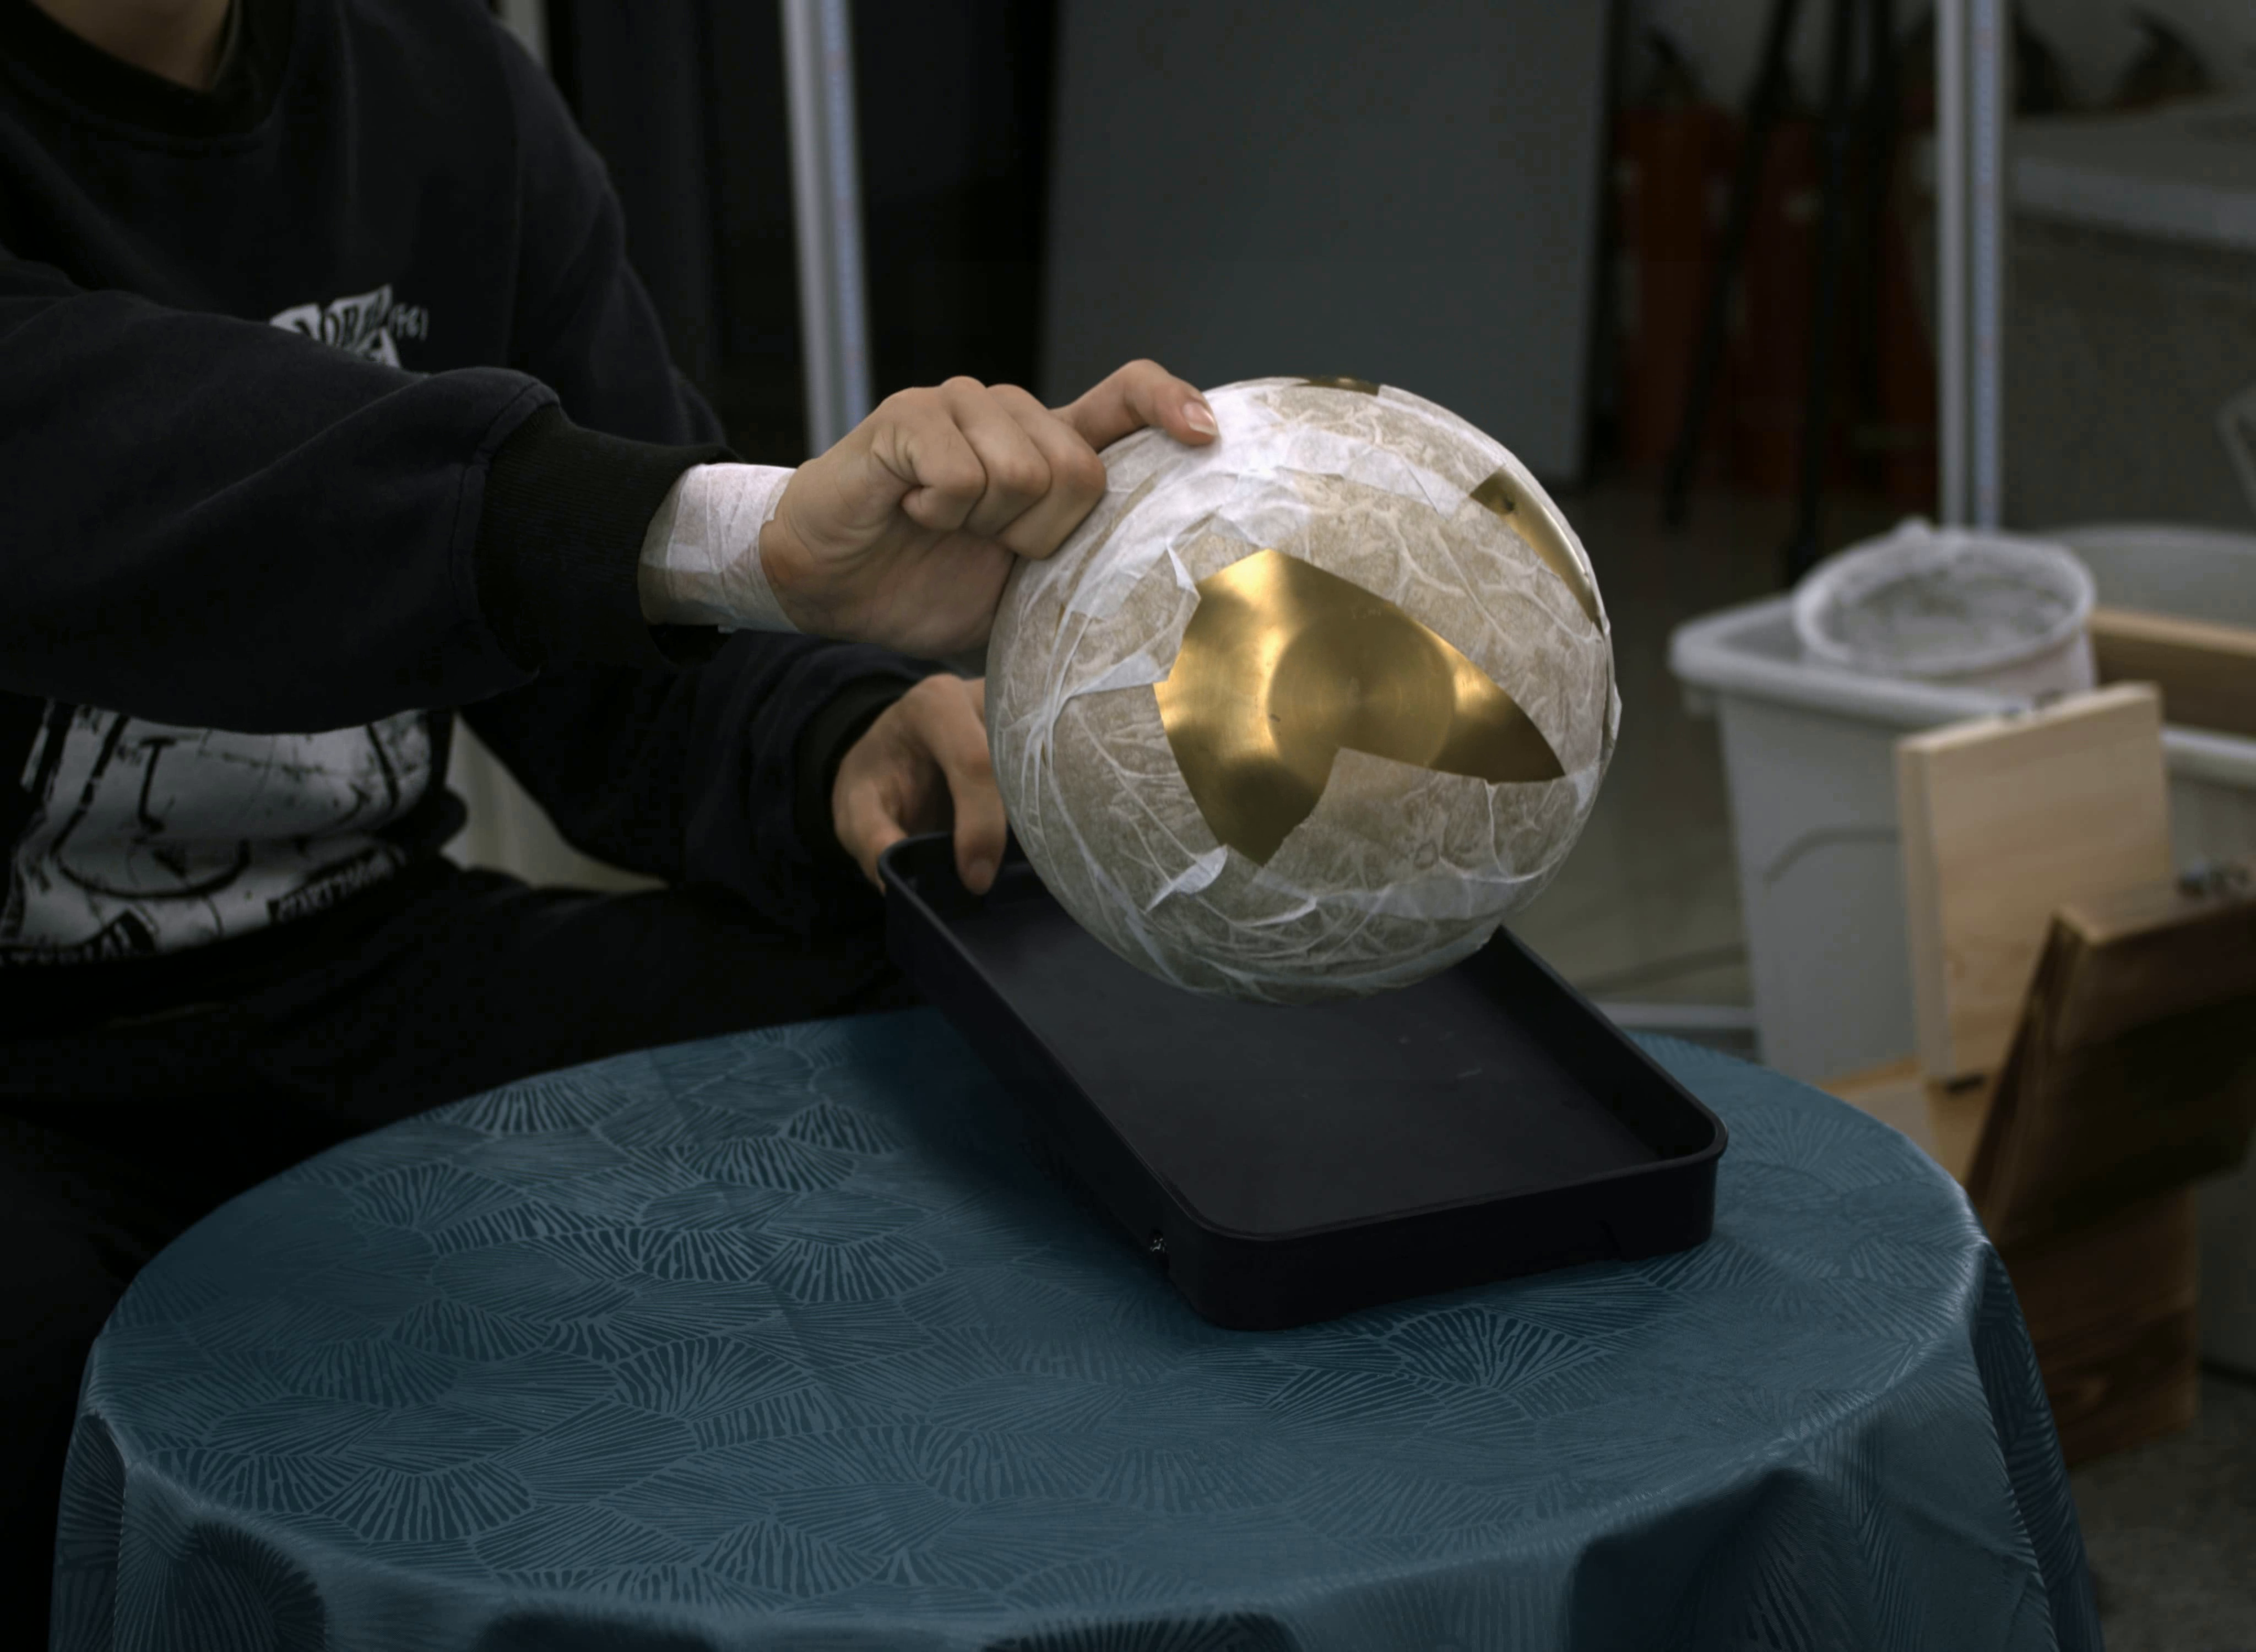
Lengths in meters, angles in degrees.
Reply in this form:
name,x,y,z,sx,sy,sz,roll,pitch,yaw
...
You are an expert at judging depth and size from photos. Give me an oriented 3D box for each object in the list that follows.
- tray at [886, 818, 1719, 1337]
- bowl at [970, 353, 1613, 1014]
name,x,y,z,sx,sy,sz,roll,pitch,yaw
tray,0.050,0.070,1.778,0.180,0.037,0.321,-7,26,-19
bowl,0.057,-0.040,1.647,0.211,0.217,0.095,-6,5,-9
